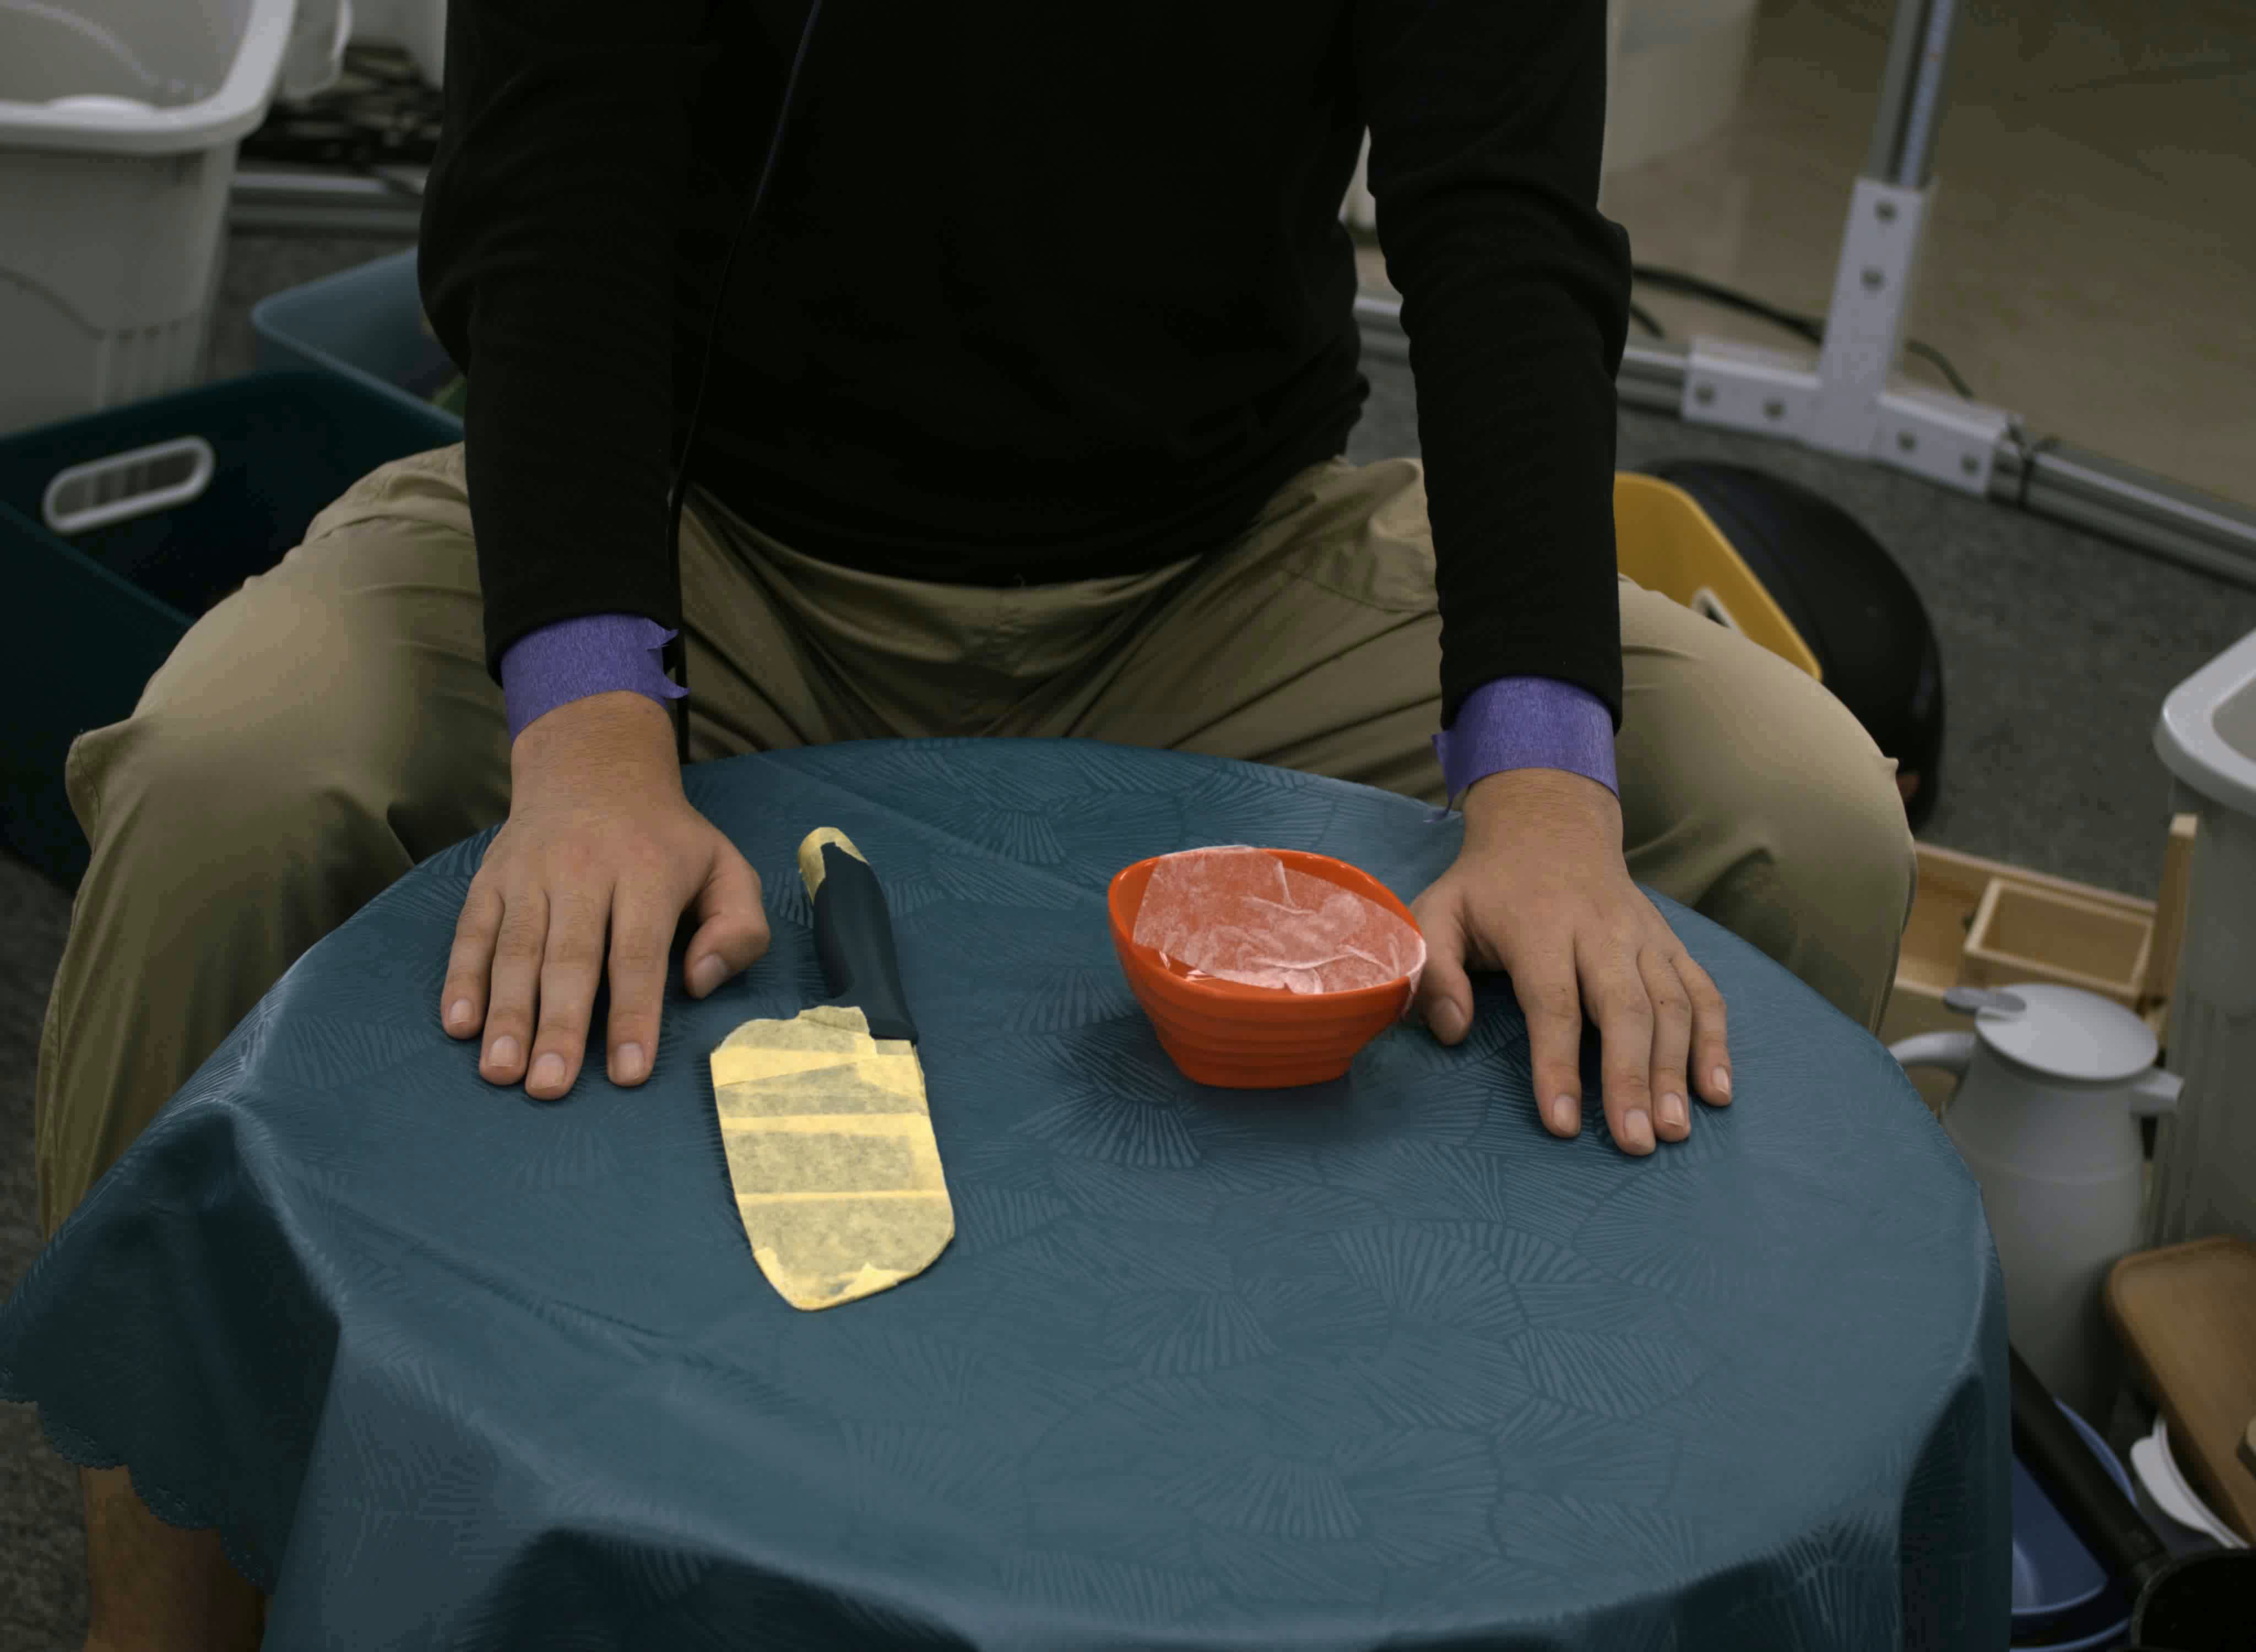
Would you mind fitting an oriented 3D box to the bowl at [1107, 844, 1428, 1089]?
[{"bbox_3d":[0.047,0.054,1.894,0.118,0.051,0.119,4,28,-3],"label":"bowl"}]

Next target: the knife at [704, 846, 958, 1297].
[{"bbox_3d":[-0.106,0.083,1.846,0.080,0.027,0.291,4,28,-9],"label":"knife"}]
